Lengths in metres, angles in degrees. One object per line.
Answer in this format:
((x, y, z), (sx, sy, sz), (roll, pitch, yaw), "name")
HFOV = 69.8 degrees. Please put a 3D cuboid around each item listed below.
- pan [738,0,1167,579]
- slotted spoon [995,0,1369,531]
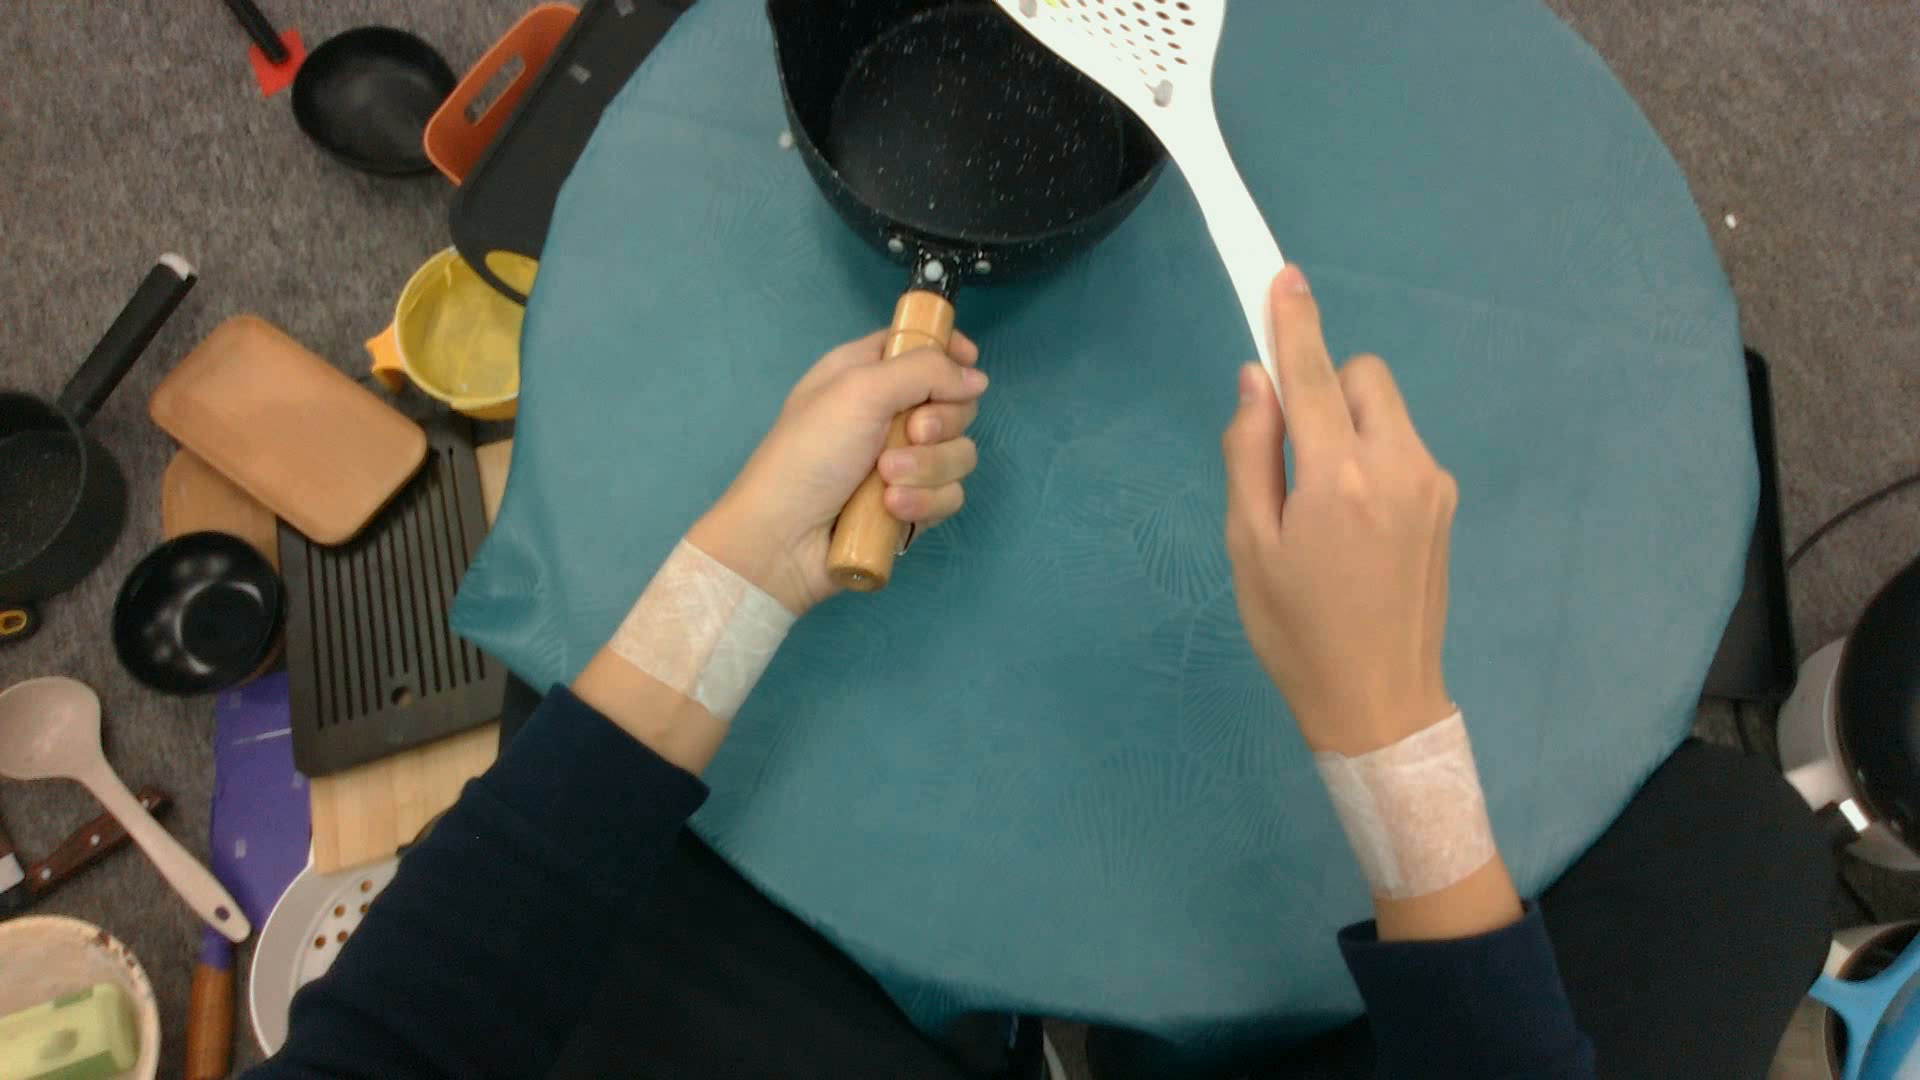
((-0.015, -0.135, 0.624), (0.207, 0.108, 0.344), (12, 73, -2), "pan")
((0.081, -0.164, 0.538), (0.137, 0.050, 0.348), (-14, 69, -23), "slotted spoon")
